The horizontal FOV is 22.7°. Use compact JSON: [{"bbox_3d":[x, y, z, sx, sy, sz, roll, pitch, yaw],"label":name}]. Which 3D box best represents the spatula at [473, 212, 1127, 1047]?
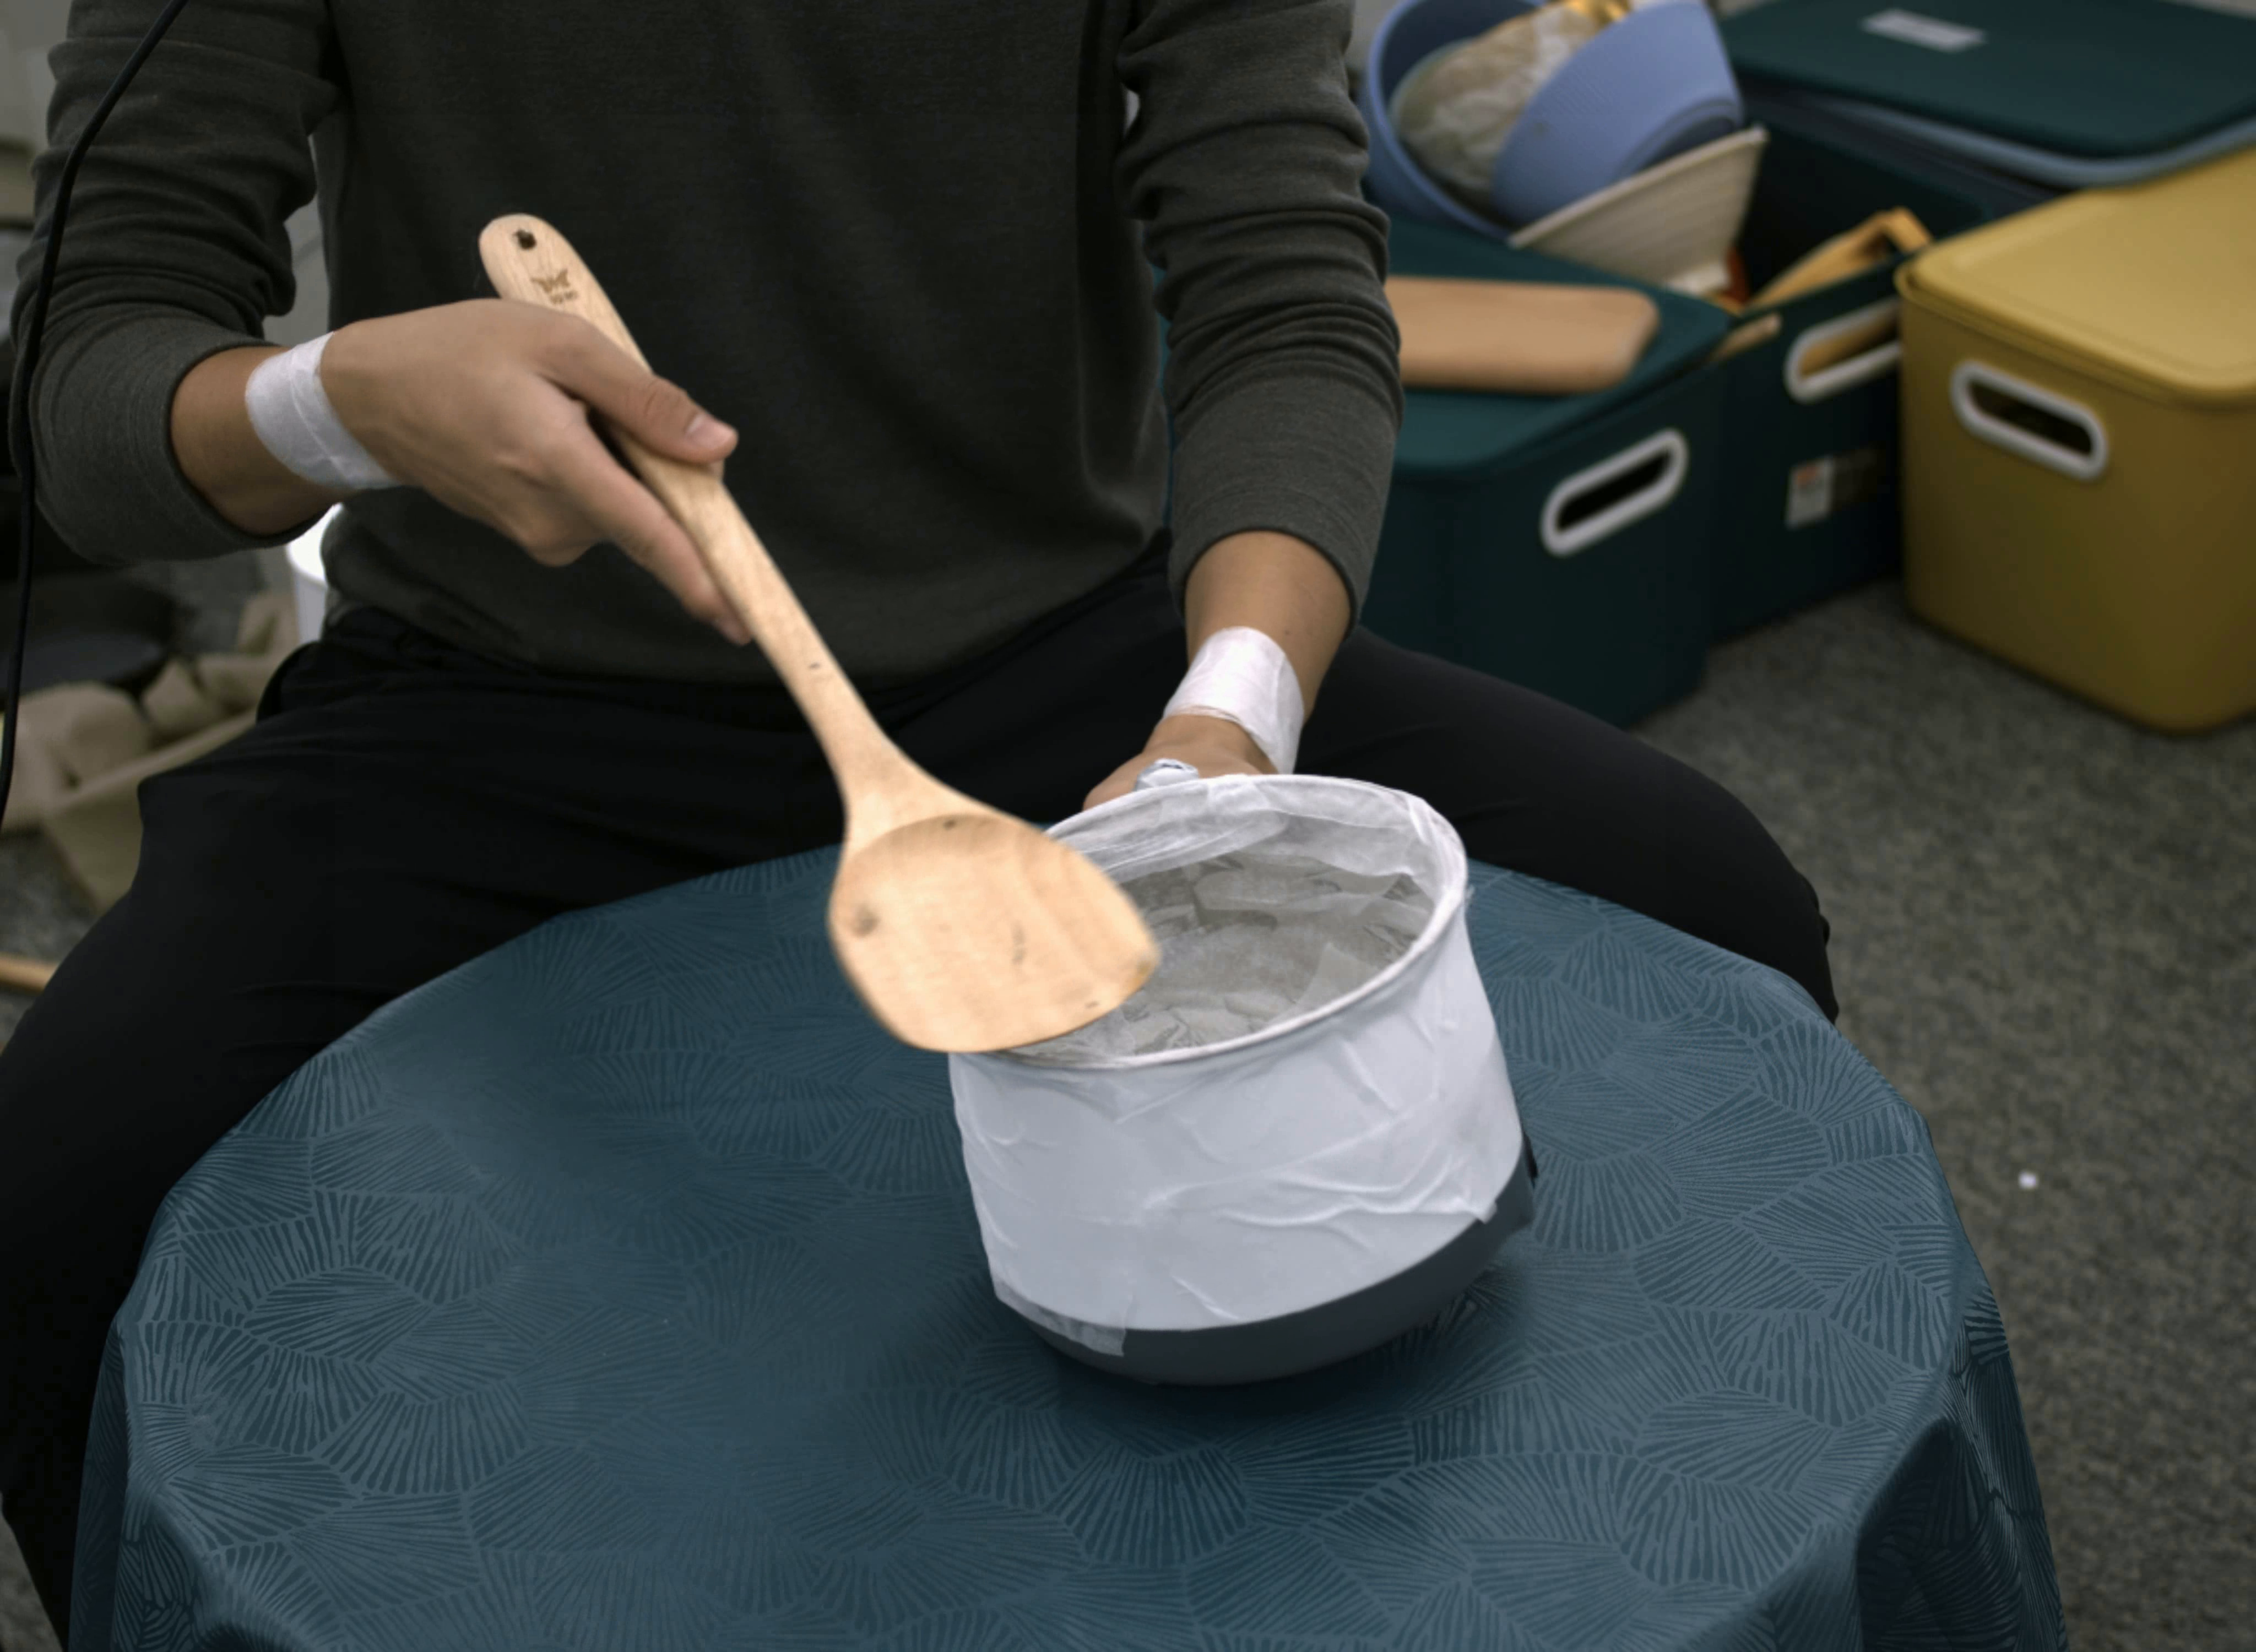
[{"bbox_3d":[-0.124,-0.069,1.774,0.096,0.018,0.395,-13,51,-28],"label":"spatula"}]

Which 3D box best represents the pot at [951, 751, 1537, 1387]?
[{"bbox_3d":[0.030,0.069,1.795,0.178,0.135,0.237,-12,27,0],"label":"pot"}]
